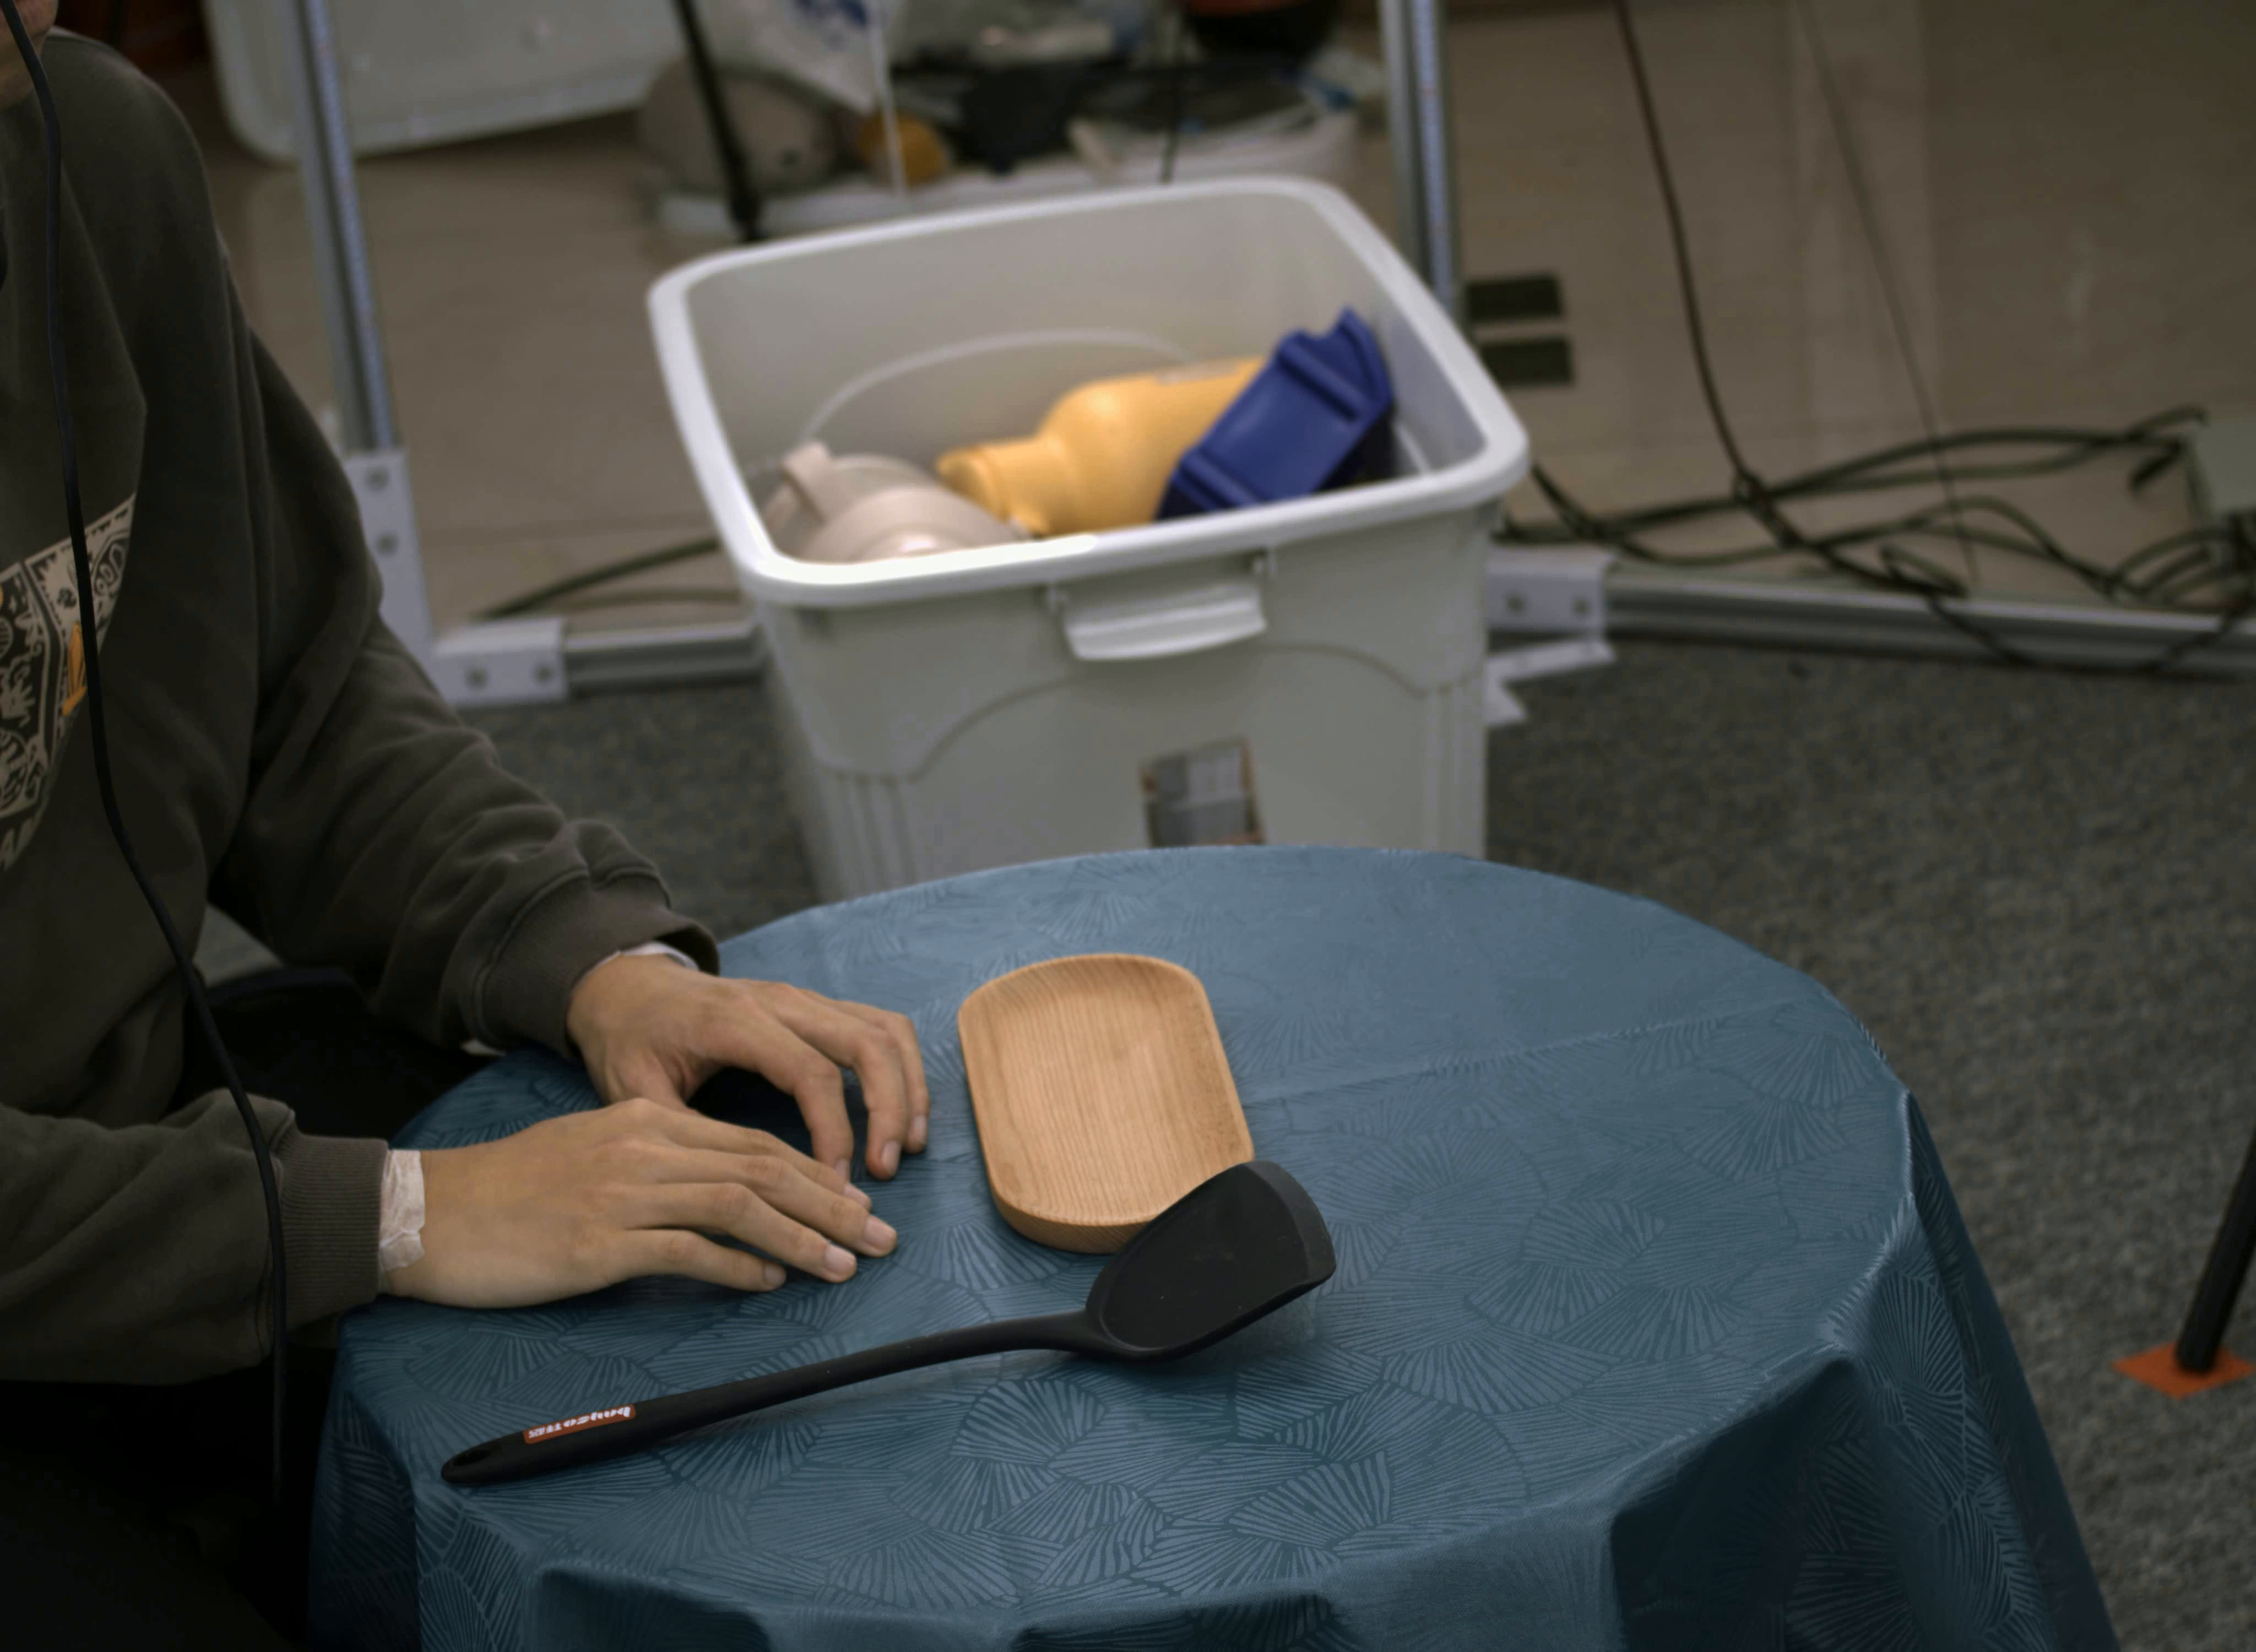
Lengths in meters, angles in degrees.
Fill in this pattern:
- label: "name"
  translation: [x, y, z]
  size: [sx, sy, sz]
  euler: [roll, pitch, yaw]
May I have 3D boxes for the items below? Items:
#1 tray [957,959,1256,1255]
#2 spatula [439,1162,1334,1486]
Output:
- label: "tray"
  translation: [-0.009, 0.107, 2.199]
  size: [0.101, 0.020, 0.228]
  euler: [-9, 26, -4]
- label: "spatula"
  translation: [-0.087, 0.186, 2.025]
  size: [0.325, 0.041, 0.098]
  euler: [-11, 24, -9]
